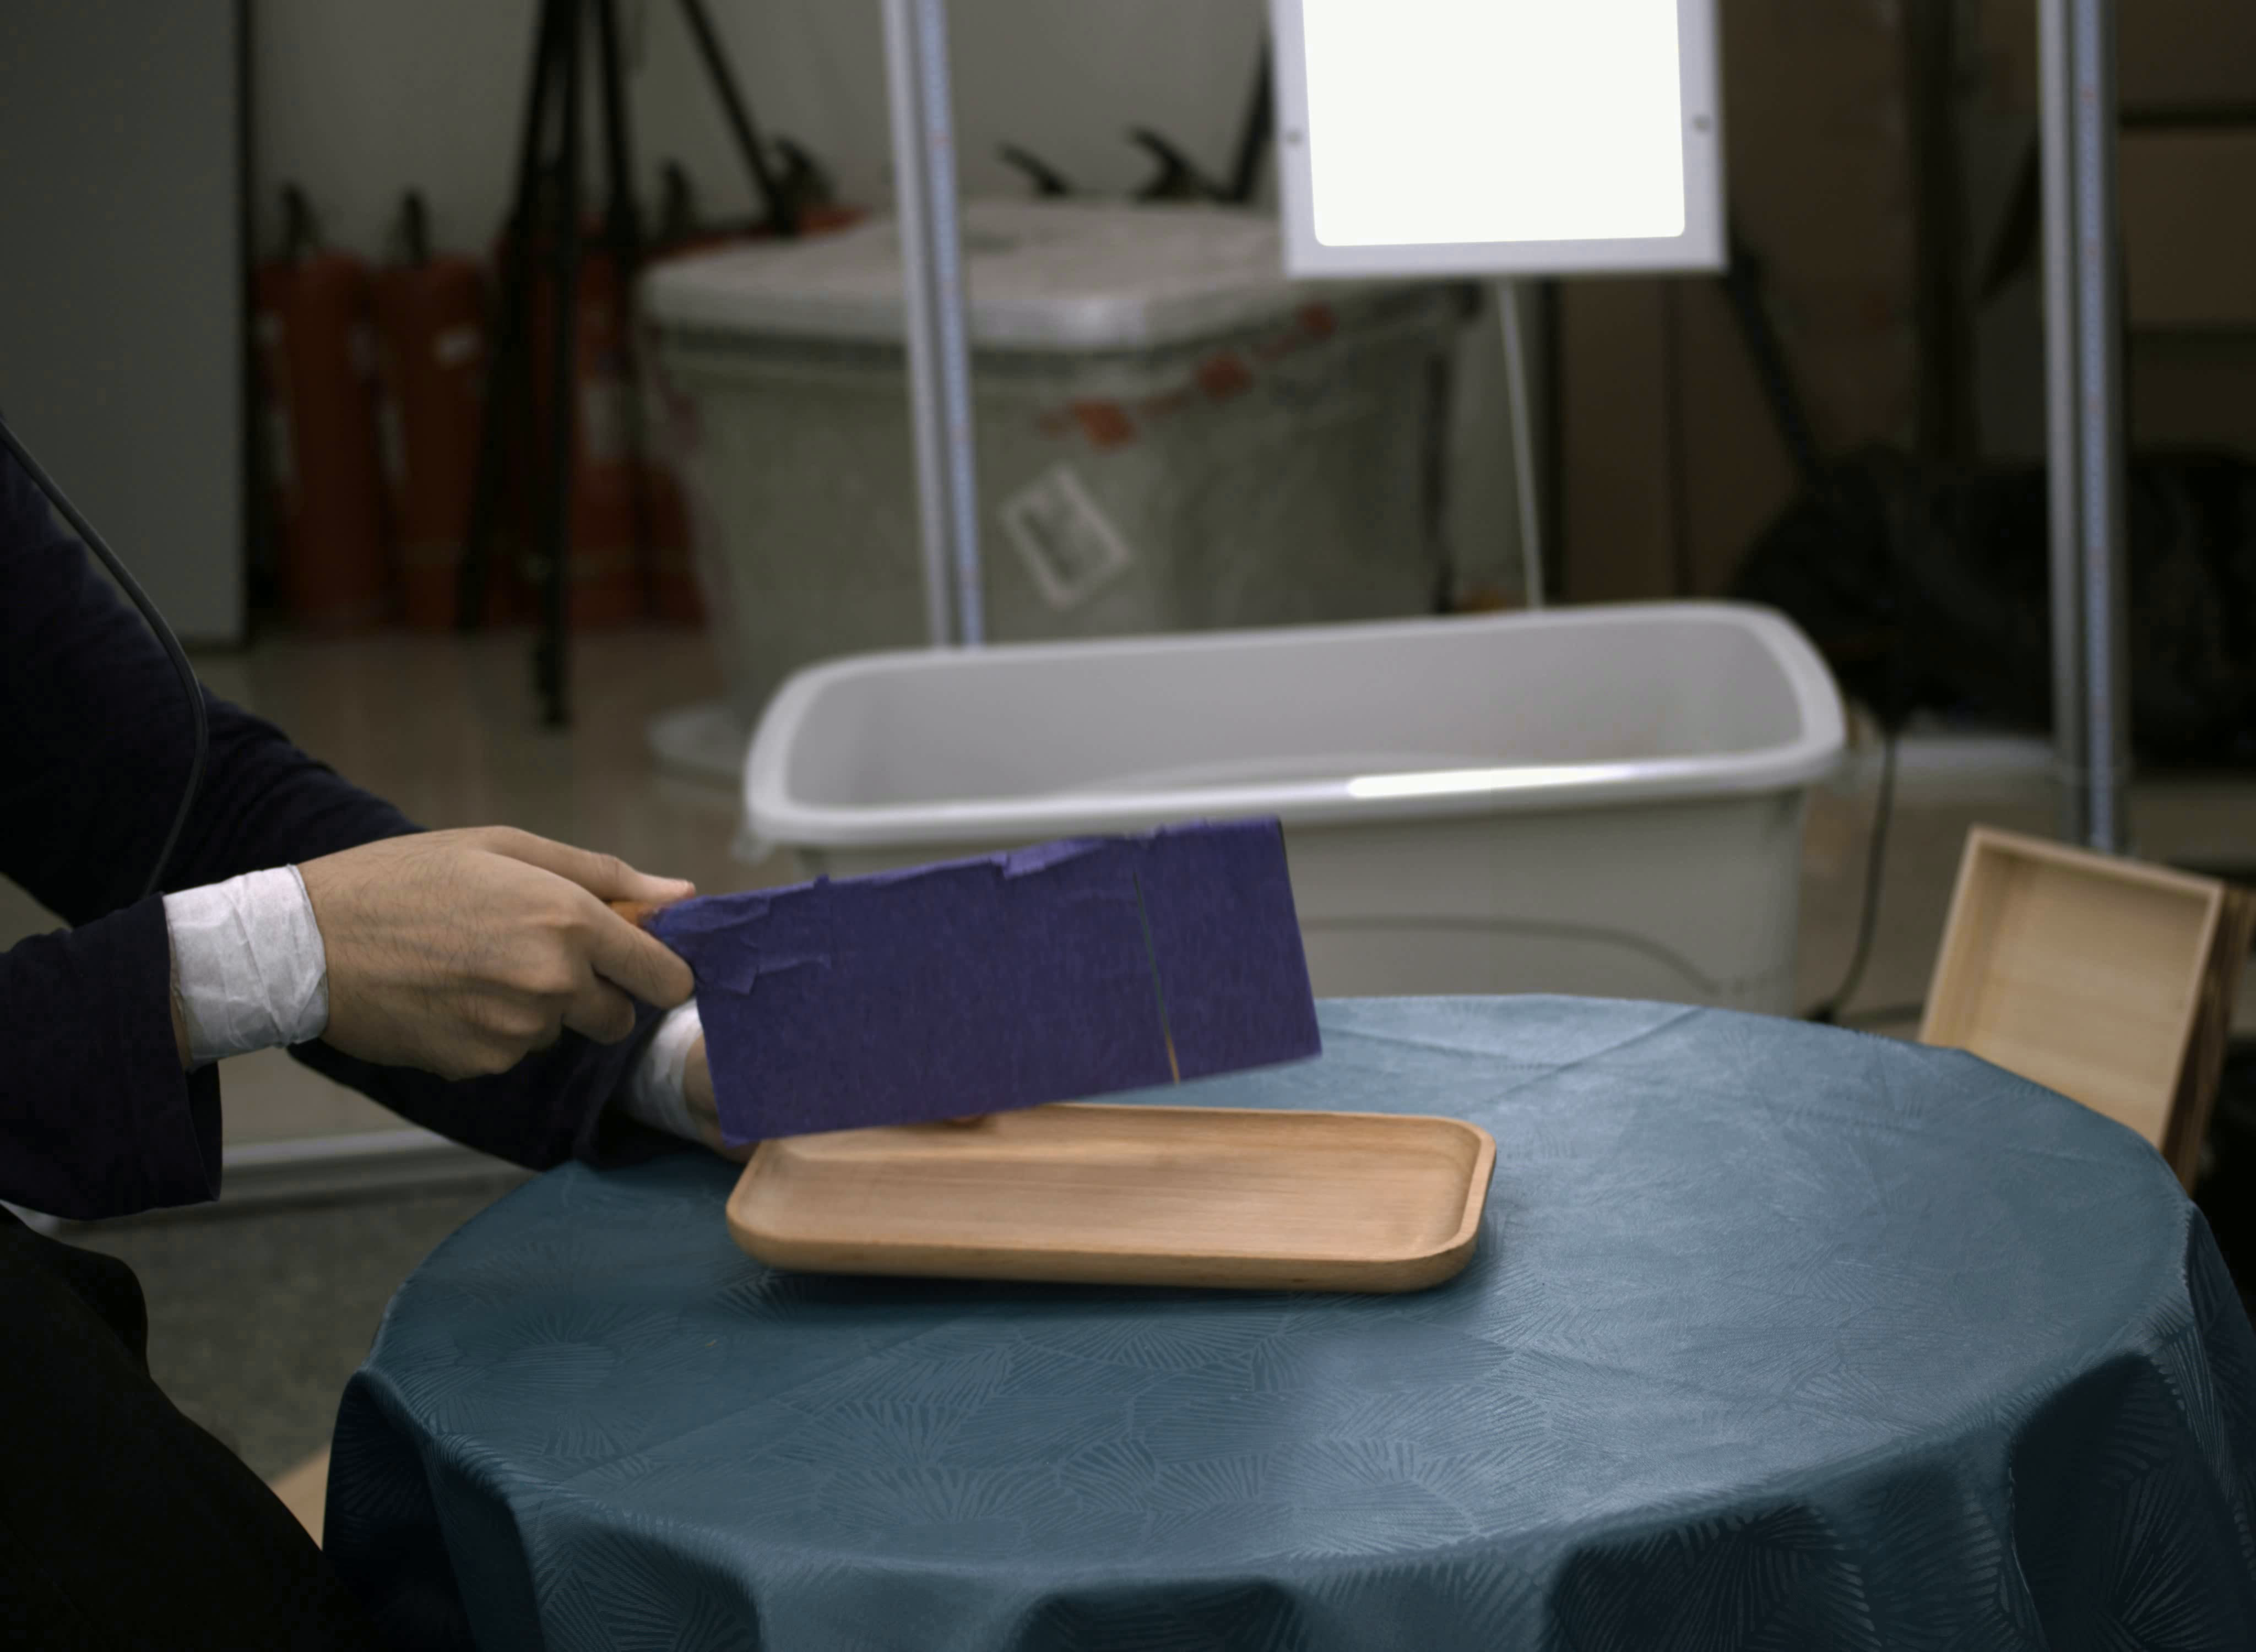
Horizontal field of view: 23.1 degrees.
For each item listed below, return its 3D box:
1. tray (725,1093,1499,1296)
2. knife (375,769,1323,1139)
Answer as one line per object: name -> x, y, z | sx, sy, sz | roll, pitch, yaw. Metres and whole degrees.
tray -> -0.004, 0.121, 1.842 | 0.253, 0.023, 0.129 | 2, 17, 14
knife -> -0.093, 0.057, 1.860 | 0.316, 0.104, 0.032 | -10, 15, 8
